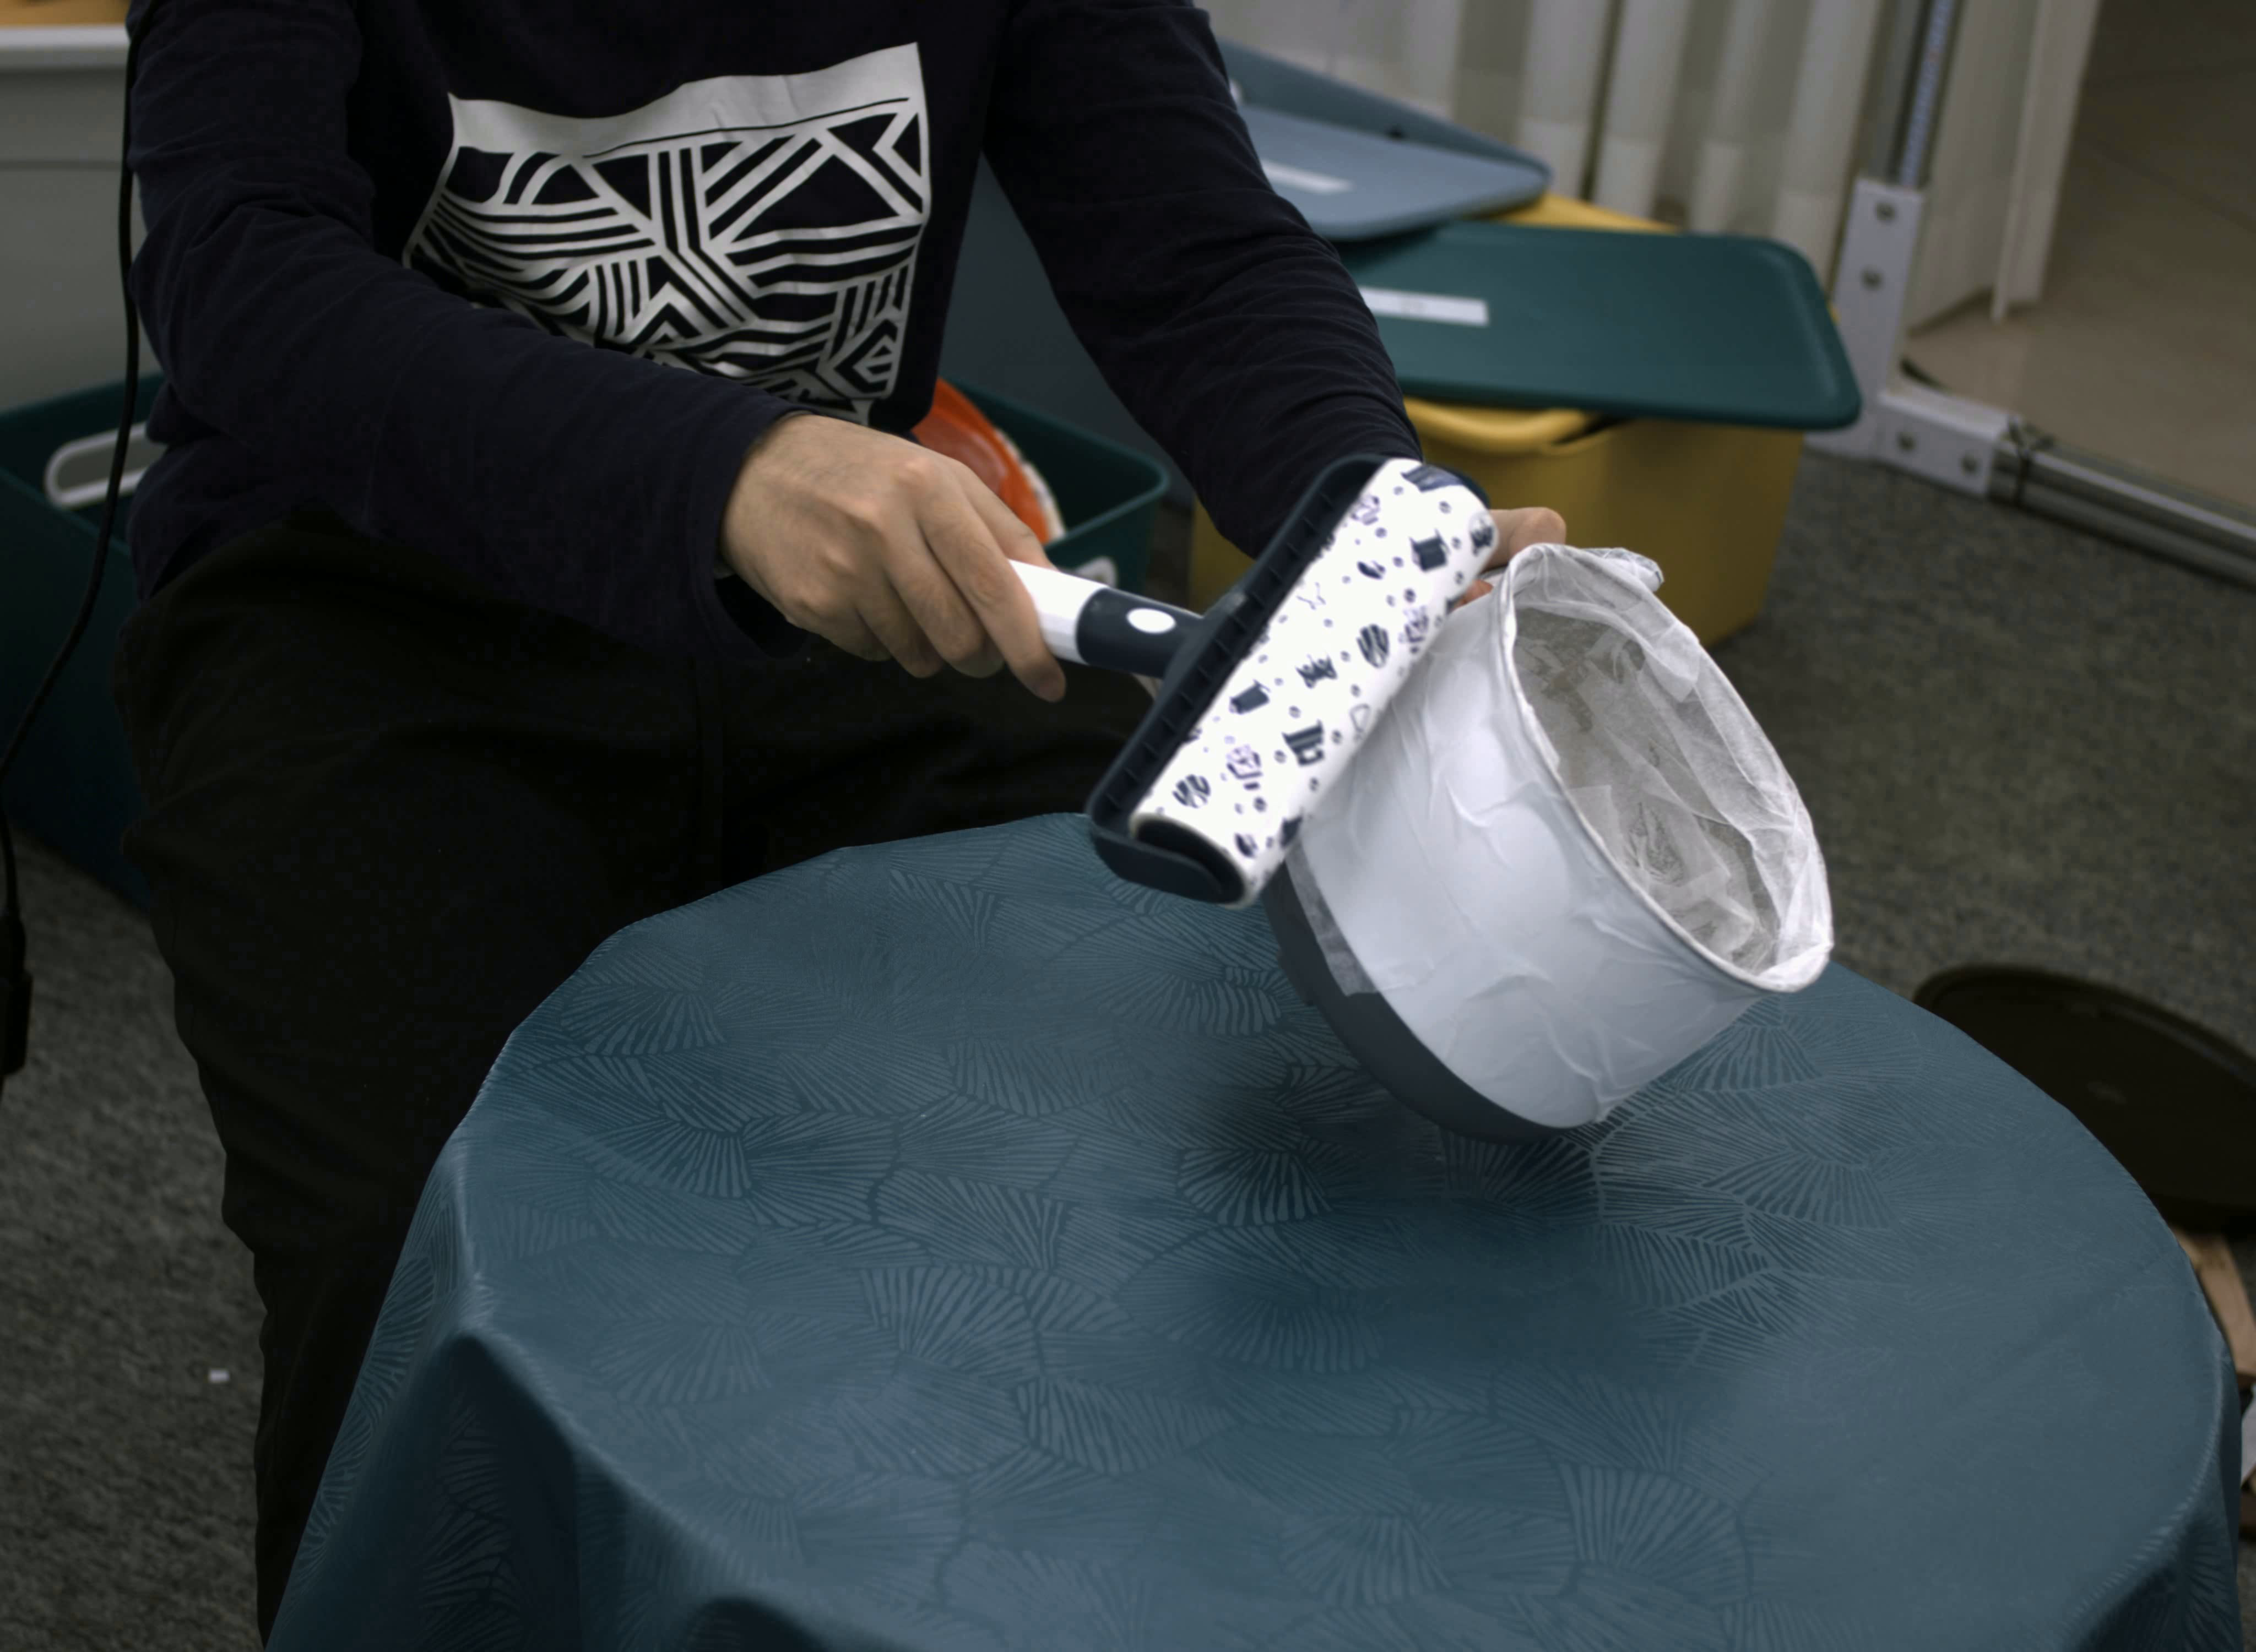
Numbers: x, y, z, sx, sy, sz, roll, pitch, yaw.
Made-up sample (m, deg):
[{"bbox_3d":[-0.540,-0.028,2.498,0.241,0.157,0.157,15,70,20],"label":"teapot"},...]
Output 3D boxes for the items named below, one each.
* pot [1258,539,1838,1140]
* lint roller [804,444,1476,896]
[{"bbox_3d":[0.140,-0.011,1.845,0.177,0.136,0.235,39,34,-32],"label":"pot"},{"bbox_3d":[-0.021,-0.070,1.809,0.248,0.050,0.177,14,59,37],"label":"lint roller"}]
